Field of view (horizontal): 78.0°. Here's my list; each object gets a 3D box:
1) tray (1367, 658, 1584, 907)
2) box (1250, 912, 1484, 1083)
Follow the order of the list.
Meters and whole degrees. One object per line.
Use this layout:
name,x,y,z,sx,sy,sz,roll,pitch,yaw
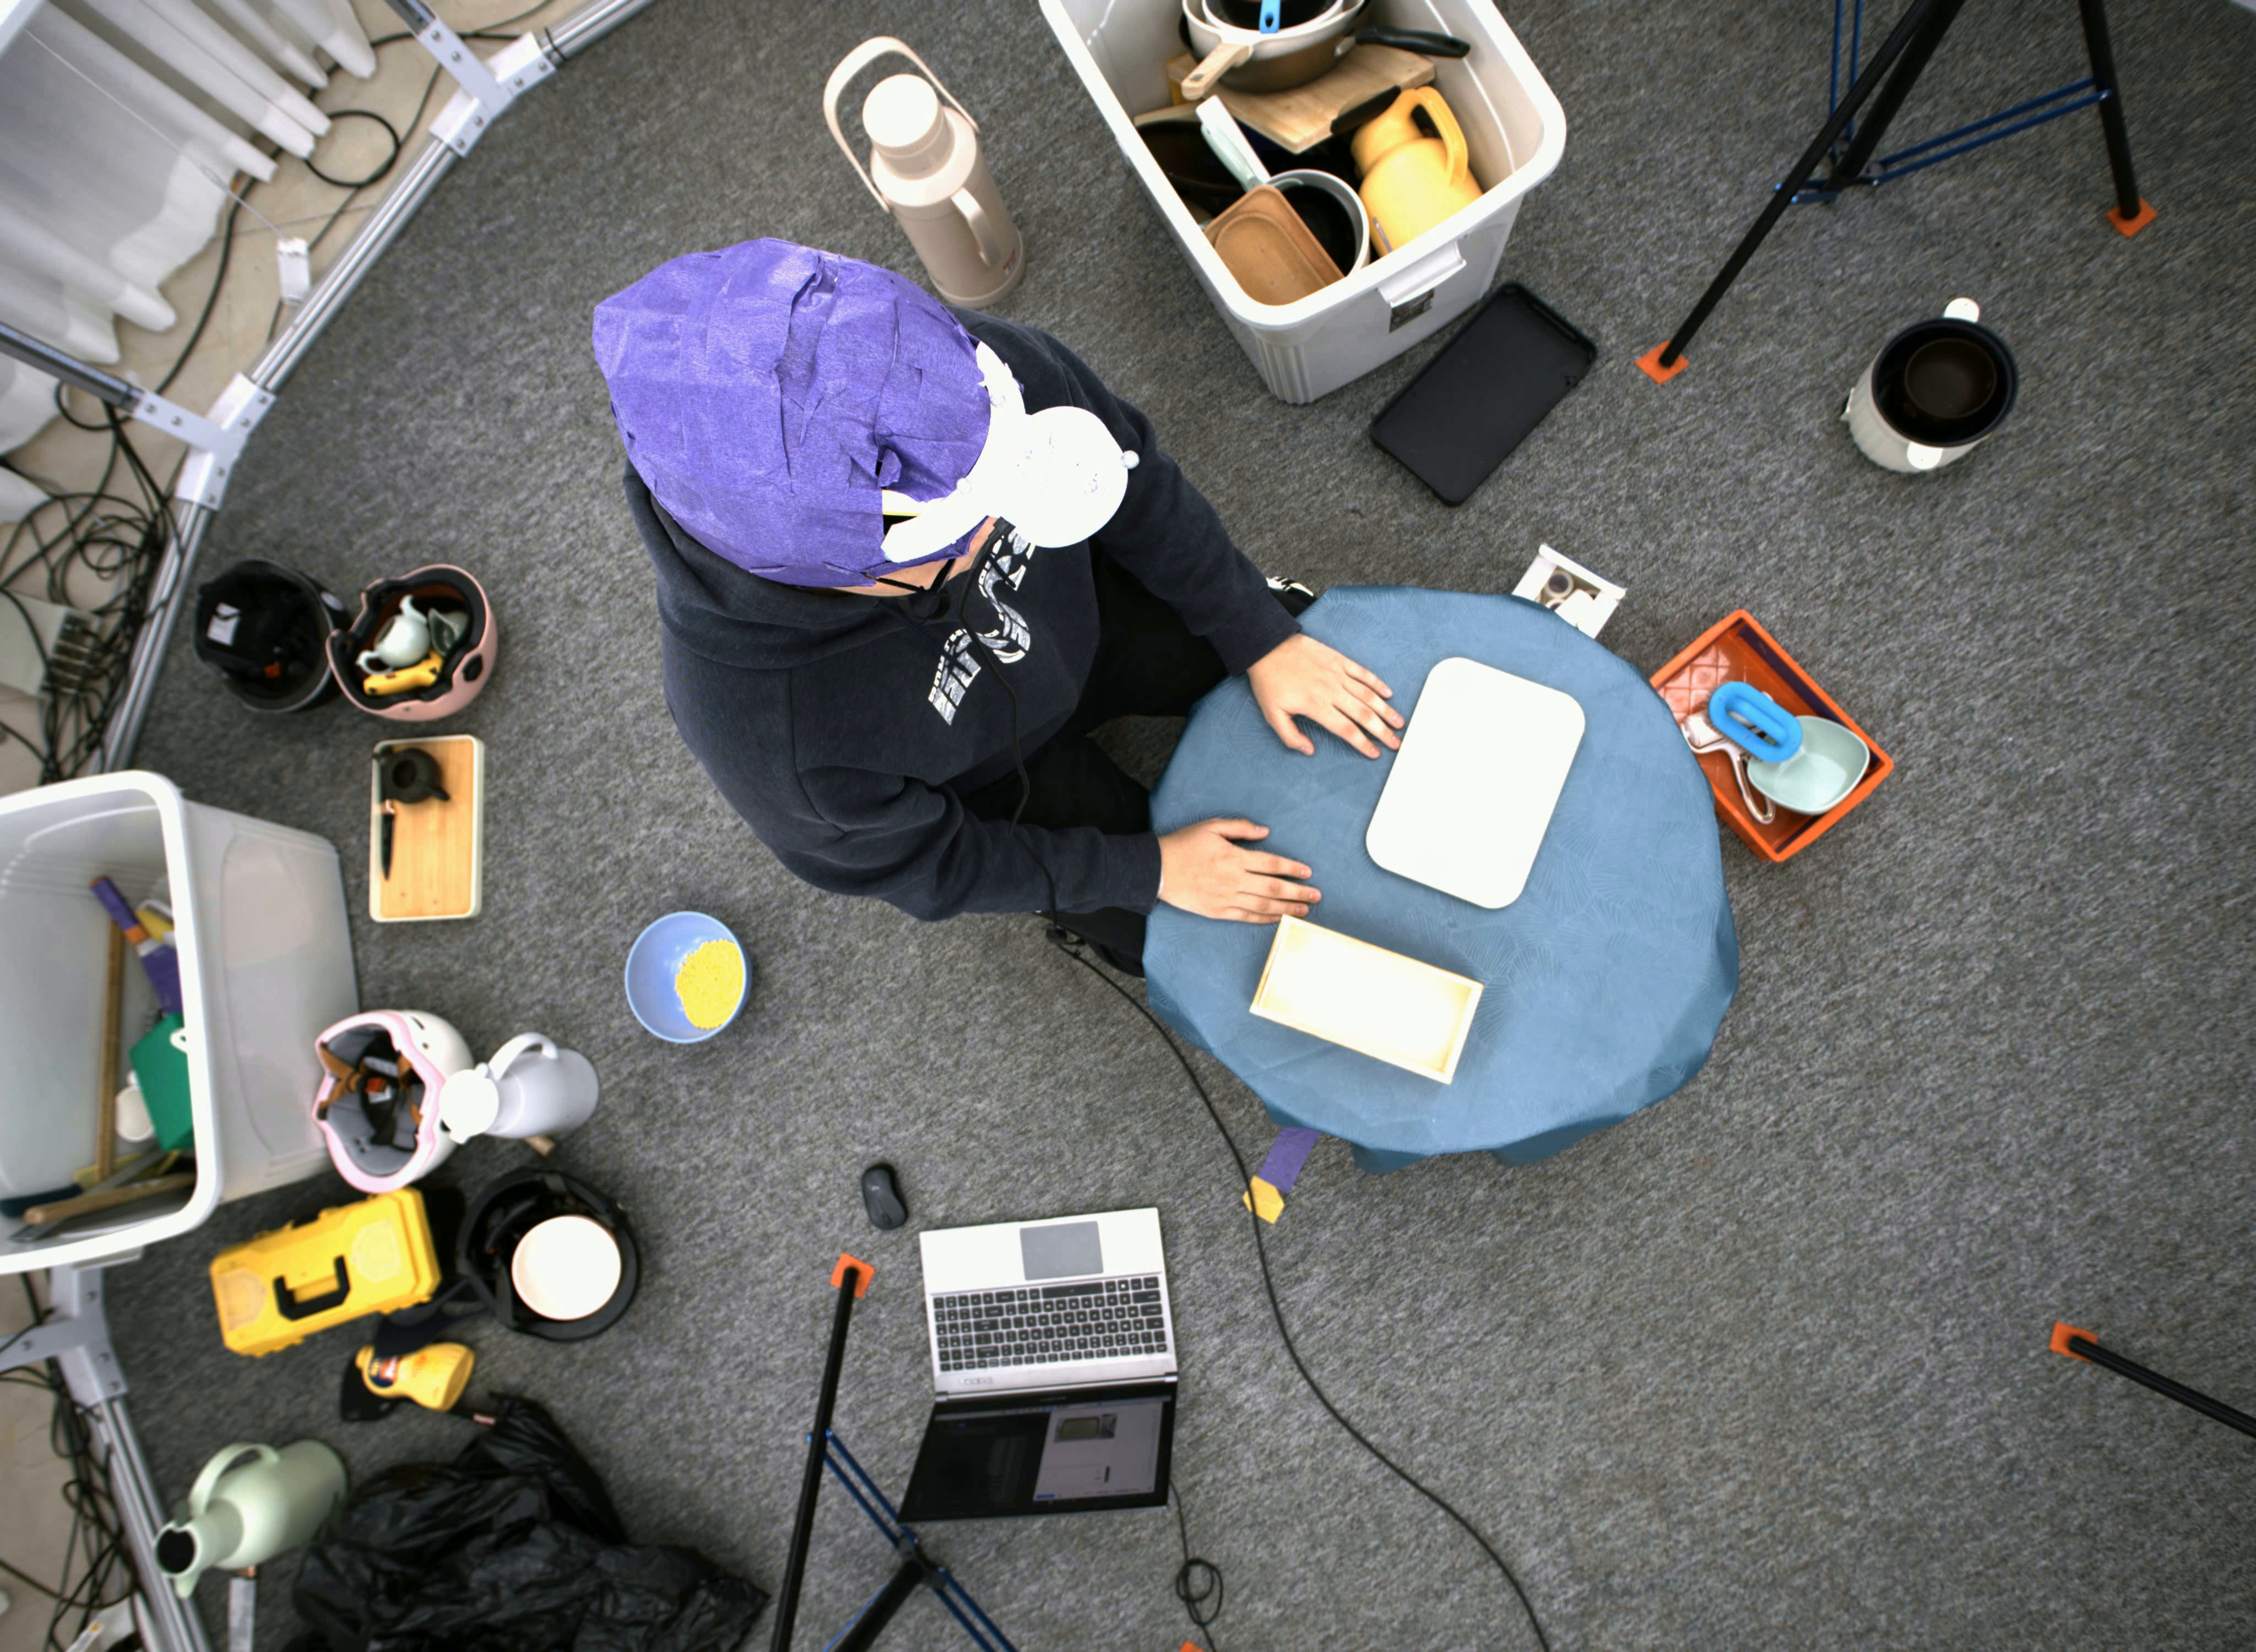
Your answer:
tray,0.364,-0.048,1.441,0.171,0.017,0.239,22,91,12
box,0.244,0.174,1.419,0.211,0.080,0.107,19,89,12
